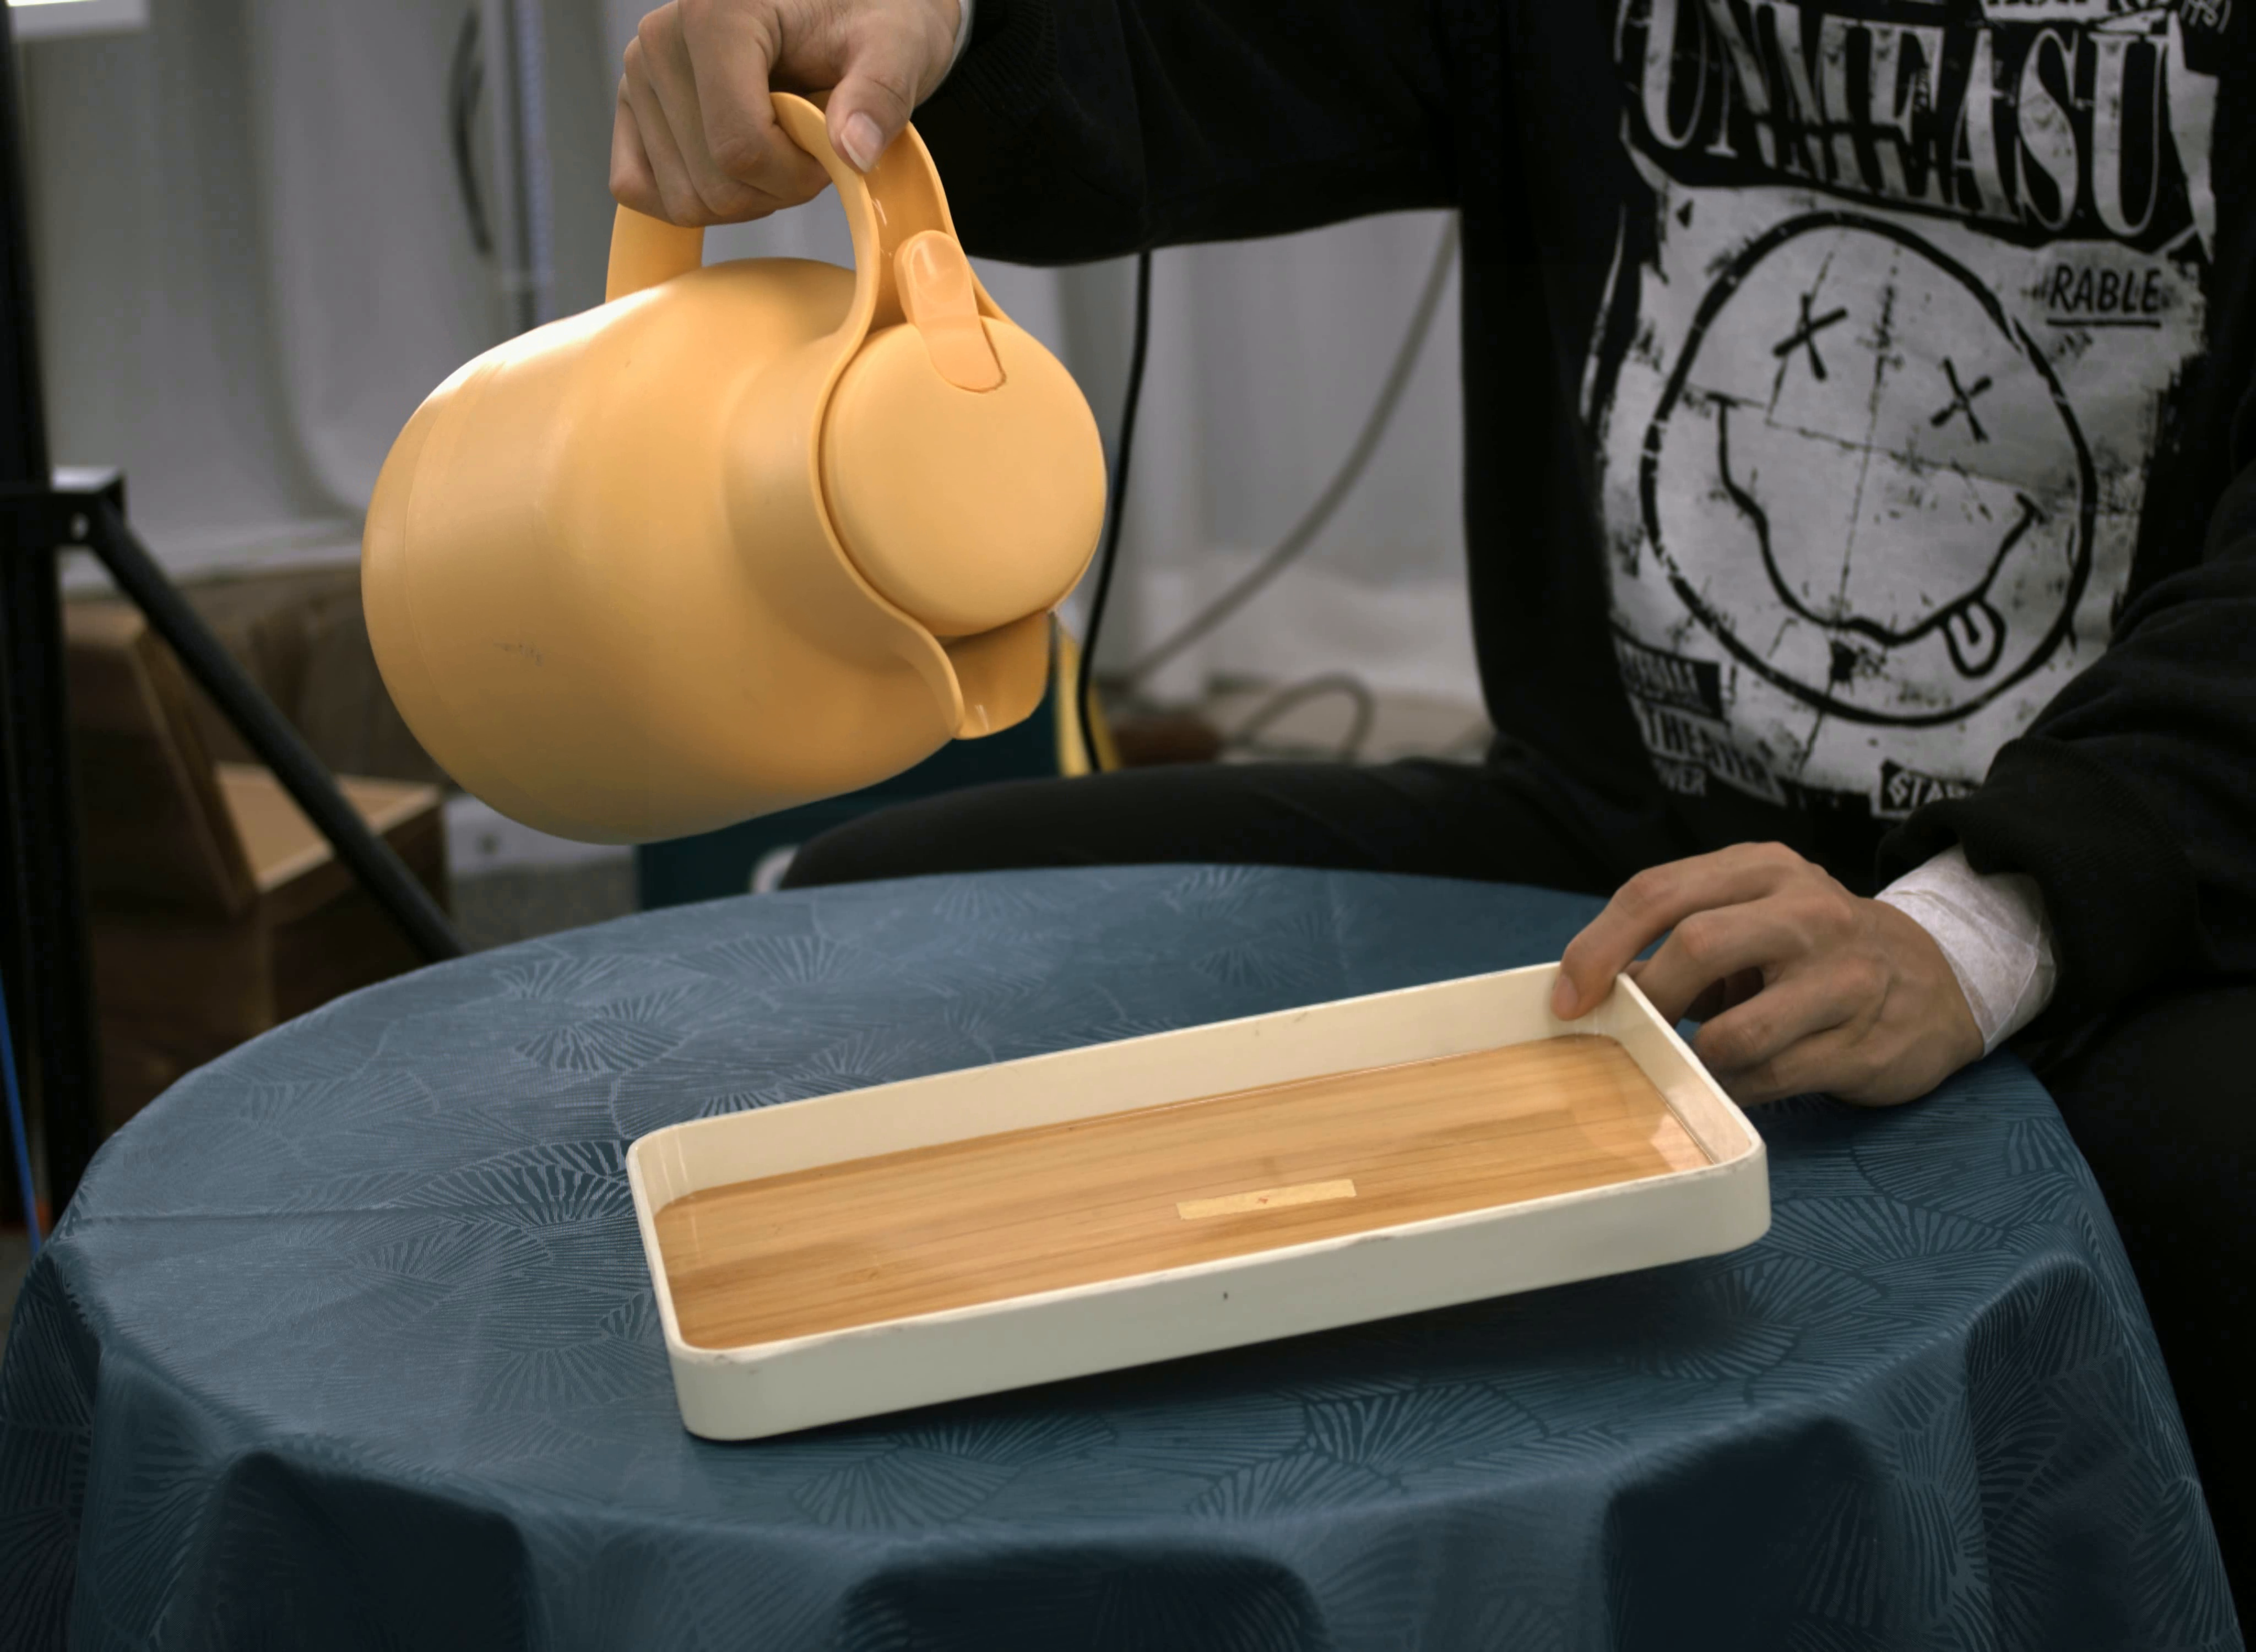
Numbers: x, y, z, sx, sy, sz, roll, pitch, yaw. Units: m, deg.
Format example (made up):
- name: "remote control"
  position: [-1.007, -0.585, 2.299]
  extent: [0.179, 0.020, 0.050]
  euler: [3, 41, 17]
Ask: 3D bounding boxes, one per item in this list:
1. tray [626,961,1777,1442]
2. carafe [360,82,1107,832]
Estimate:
- name: "tray"
  position: [0.015, 0.101, 1.475]
  extent: [0.298, 0.027, 0.193]
  euler: [-10, 17, -5]
- name: "carafe"
  position: [-0.111, -0.107, 1.577]
  extent: [0.159, 0.203, 0.265]
  euler: [-6, -2, -34]
